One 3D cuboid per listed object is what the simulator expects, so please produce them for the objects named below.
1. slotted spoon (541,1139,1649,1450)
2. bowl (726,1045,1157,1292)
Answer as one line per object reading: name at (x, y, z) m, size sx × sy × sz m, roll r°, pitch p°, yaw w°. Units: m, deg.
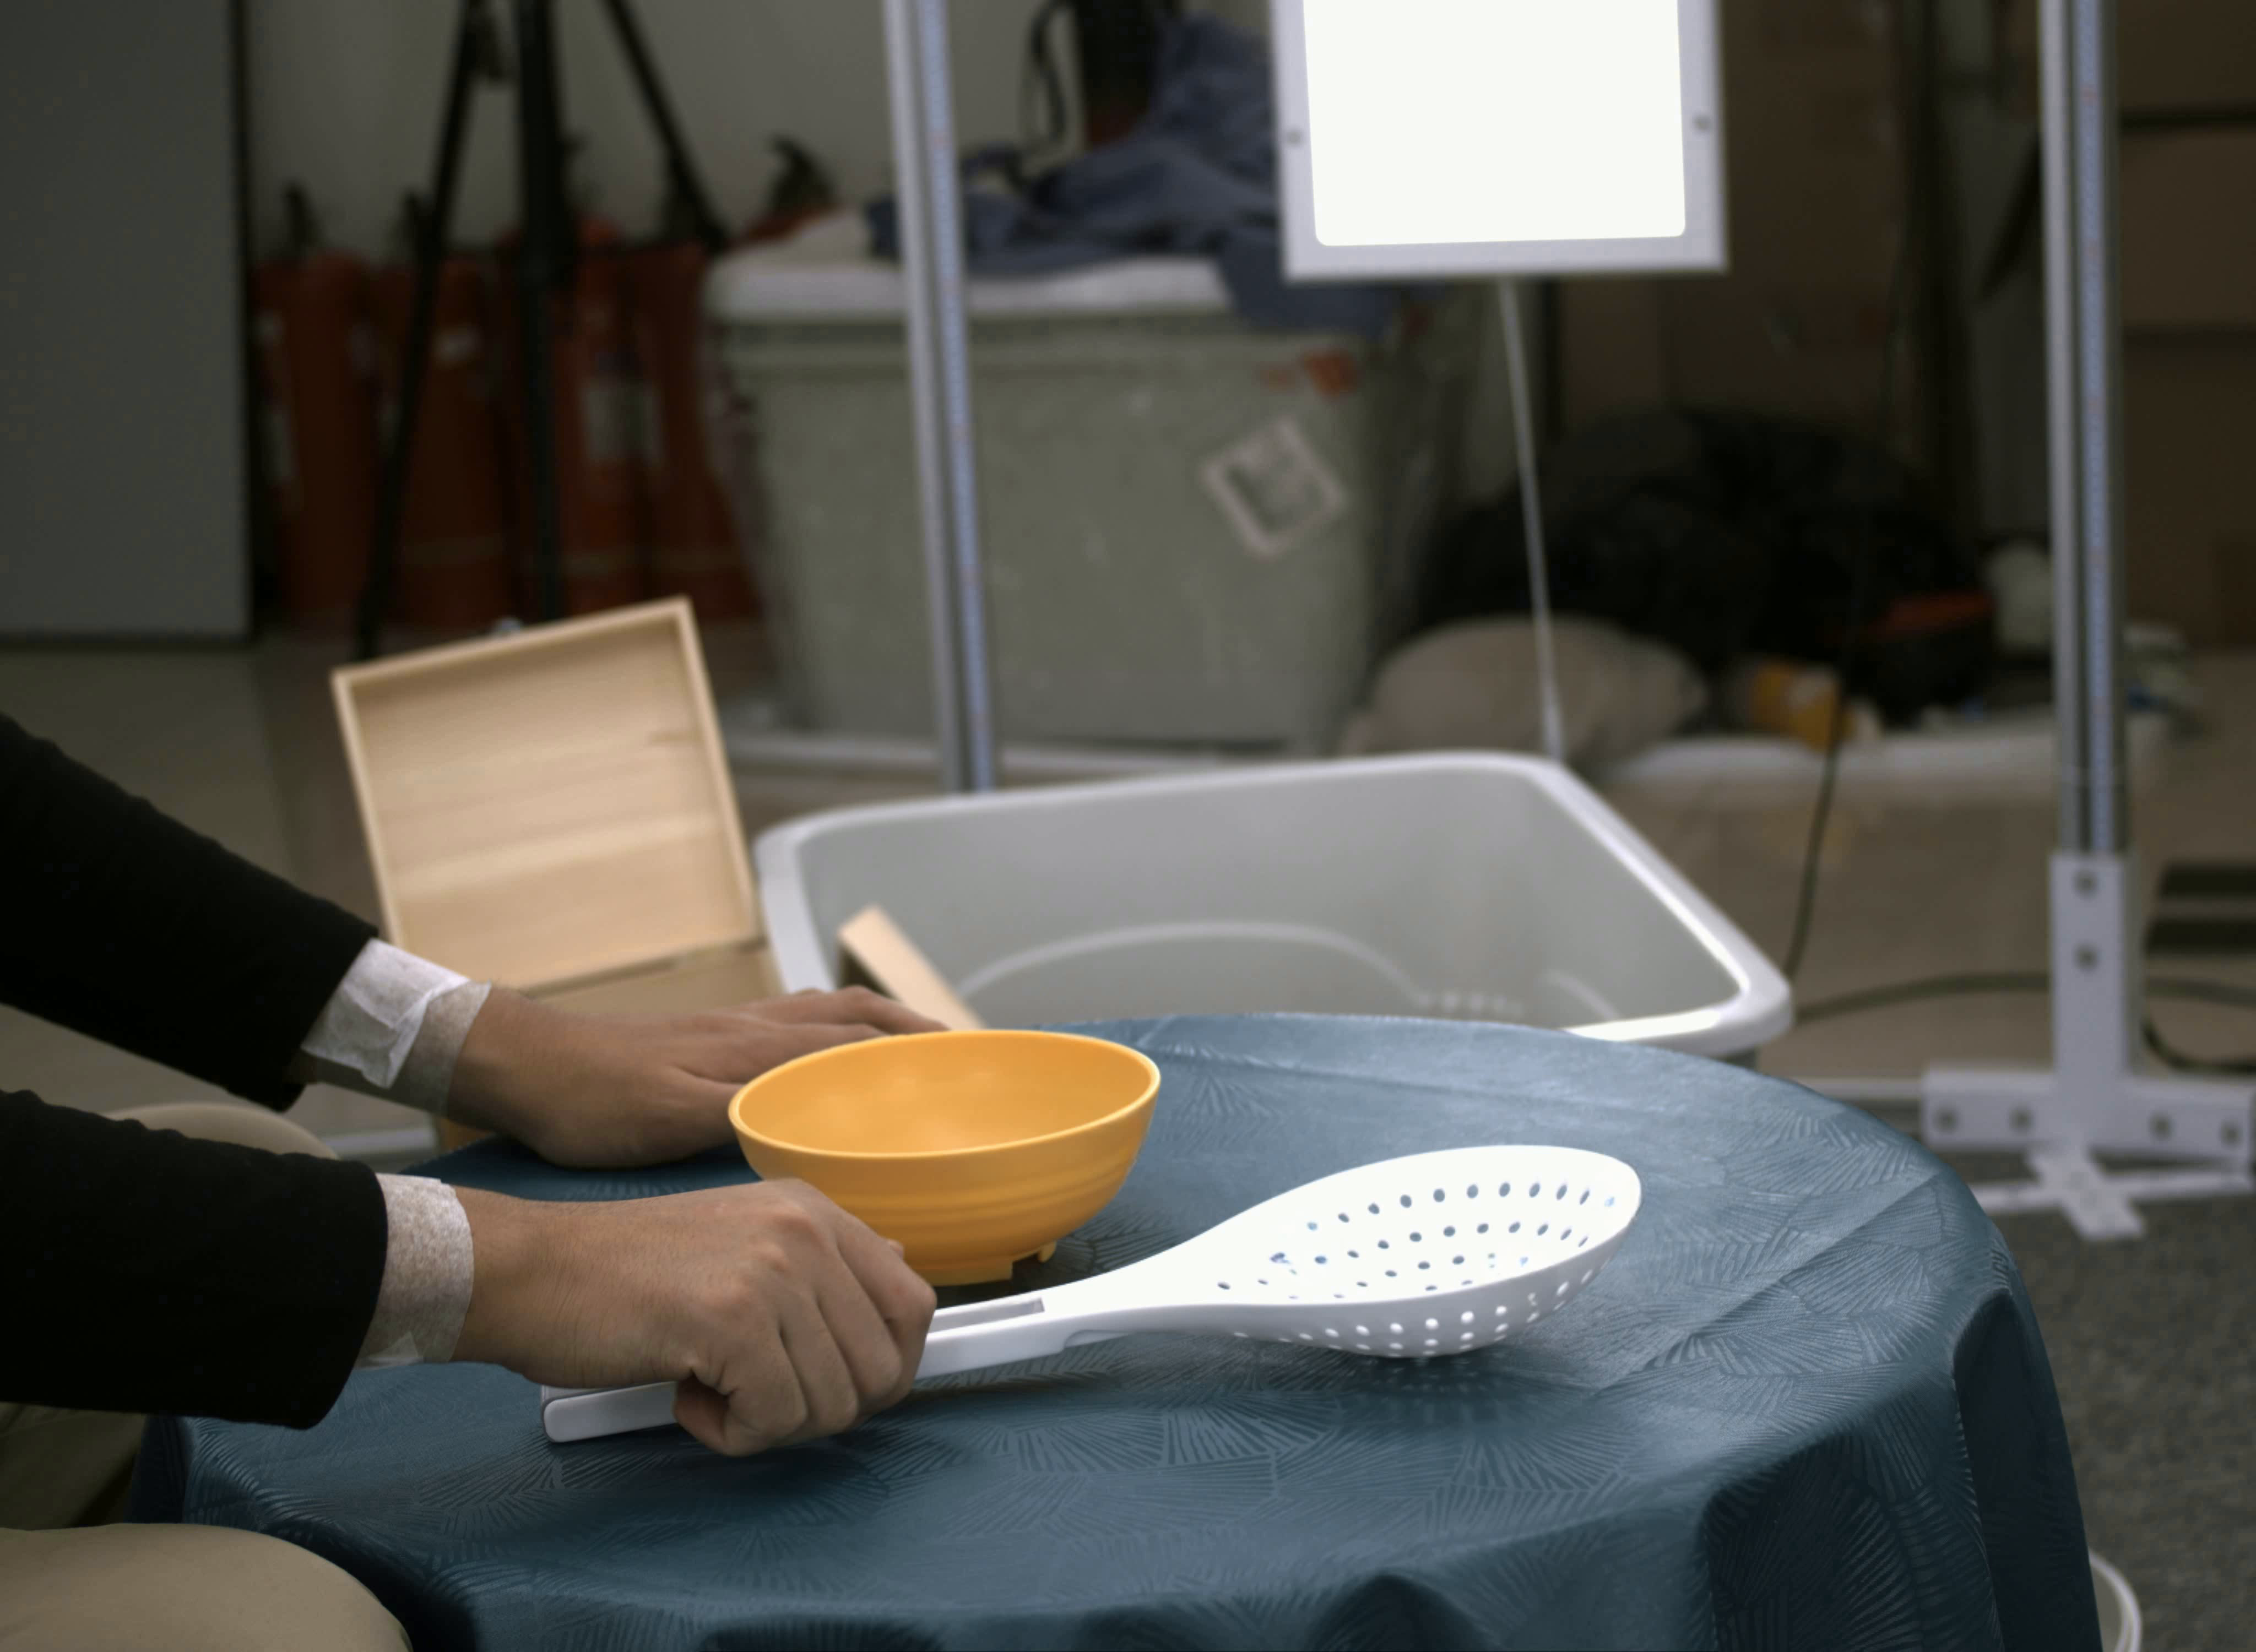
slotted spoon at (-0.009, 0.150, 1.709) m, size 0.348 × 0.046 × 0.136 m, roll -7°, pitch 15°, yaw -2°
bowl at (-0.061, 0.118, 1.839) m, size 0.145 × 0.060 × 0.145 m, roll -4°, pitch 12°, yaw -1°
